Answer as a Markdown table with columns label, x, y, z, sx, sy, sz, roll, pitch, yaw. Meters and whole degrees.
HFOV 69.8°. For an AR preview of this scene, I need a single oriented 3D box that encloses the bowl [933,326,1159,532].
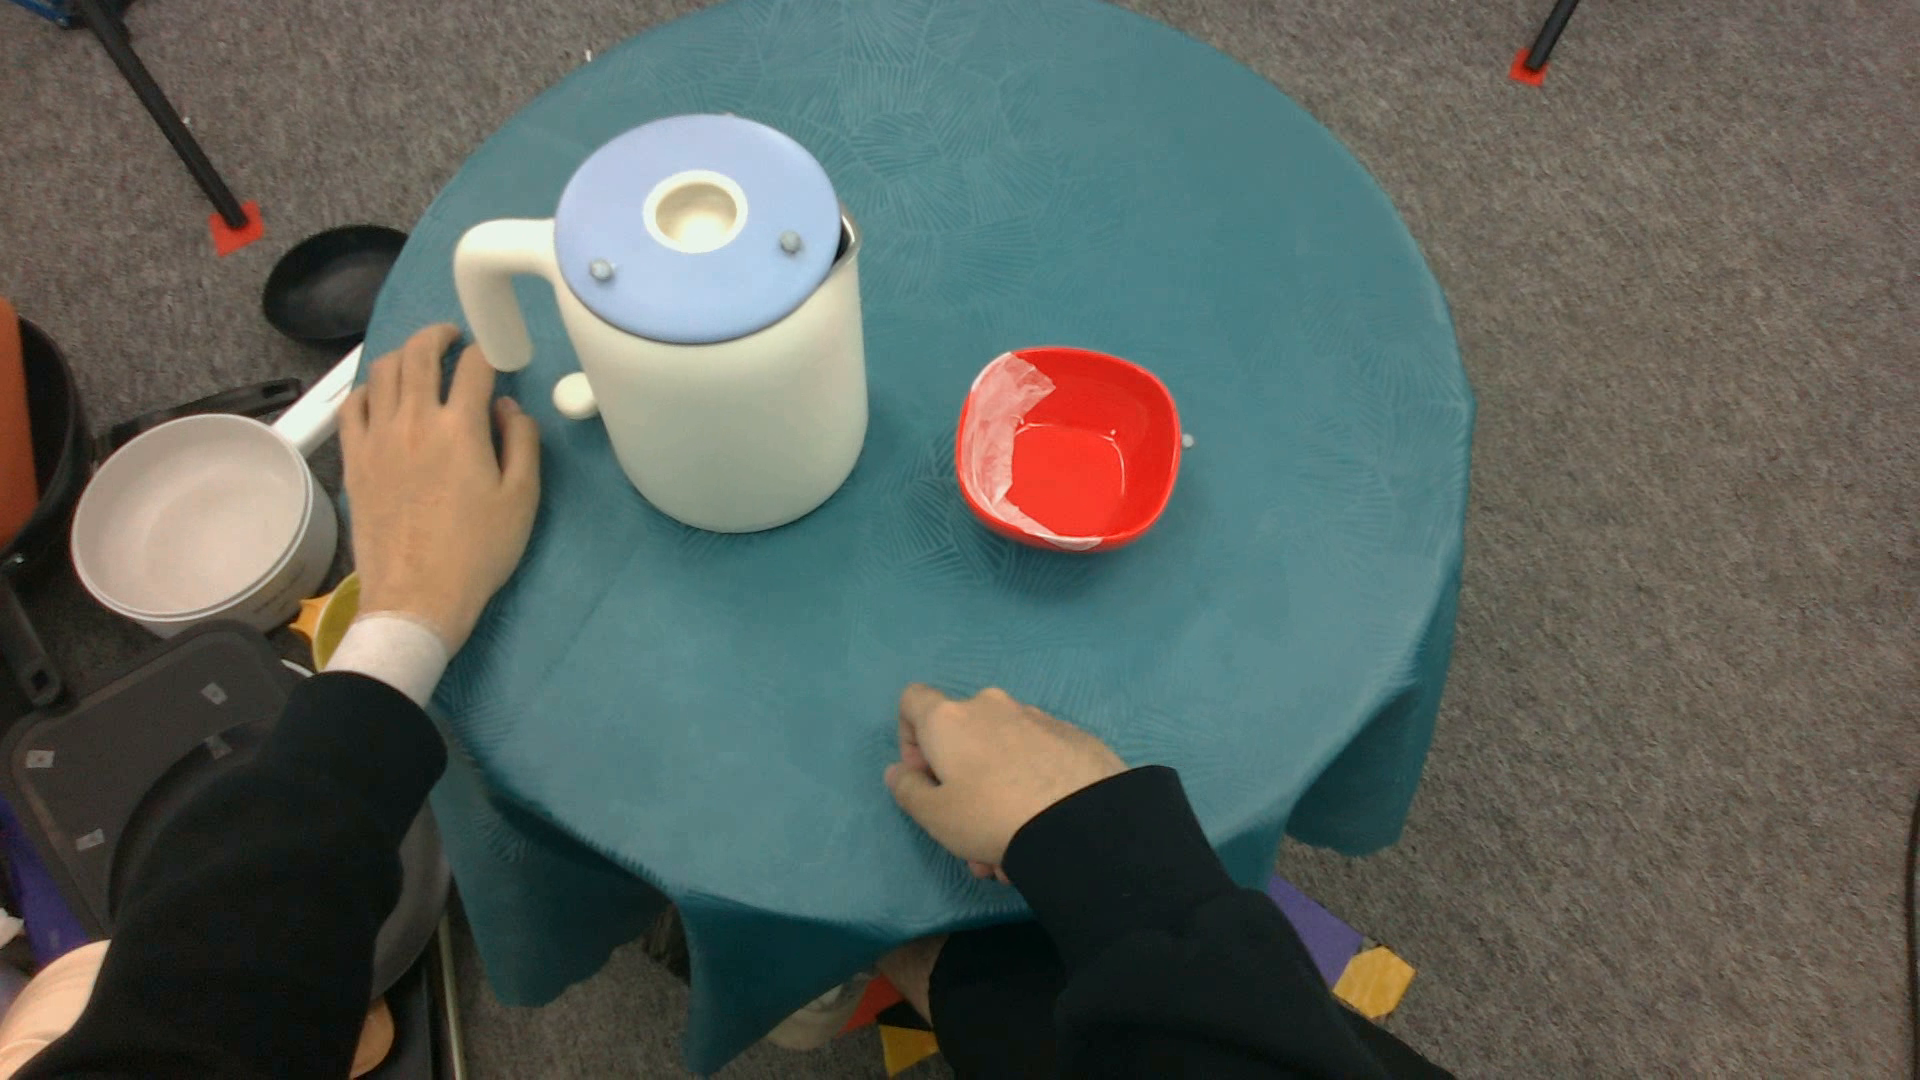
| label | x | y | z | sx | sy | sz | roll | pitch | yaw |
| --- | --- | --- | --- | --- | --- | --- | --- | --- | --- |
| bowl | 0.041 | -0.047 | 0.692 | 0.119 | 0.051 | 0.119 | 2 | 62 | -4 |

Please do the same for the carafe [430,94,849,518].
| label | x | y | z | sx | sy | sz | roll | pitch | yaw |
| --- | --- | --- | --- | --- | --- | --- | --- | --- | --- |
| carafe | -0.146 | -0.104 | 0.646 | 0.191 | 0.182 | 0.133 | 2 | 63 | 1 |
